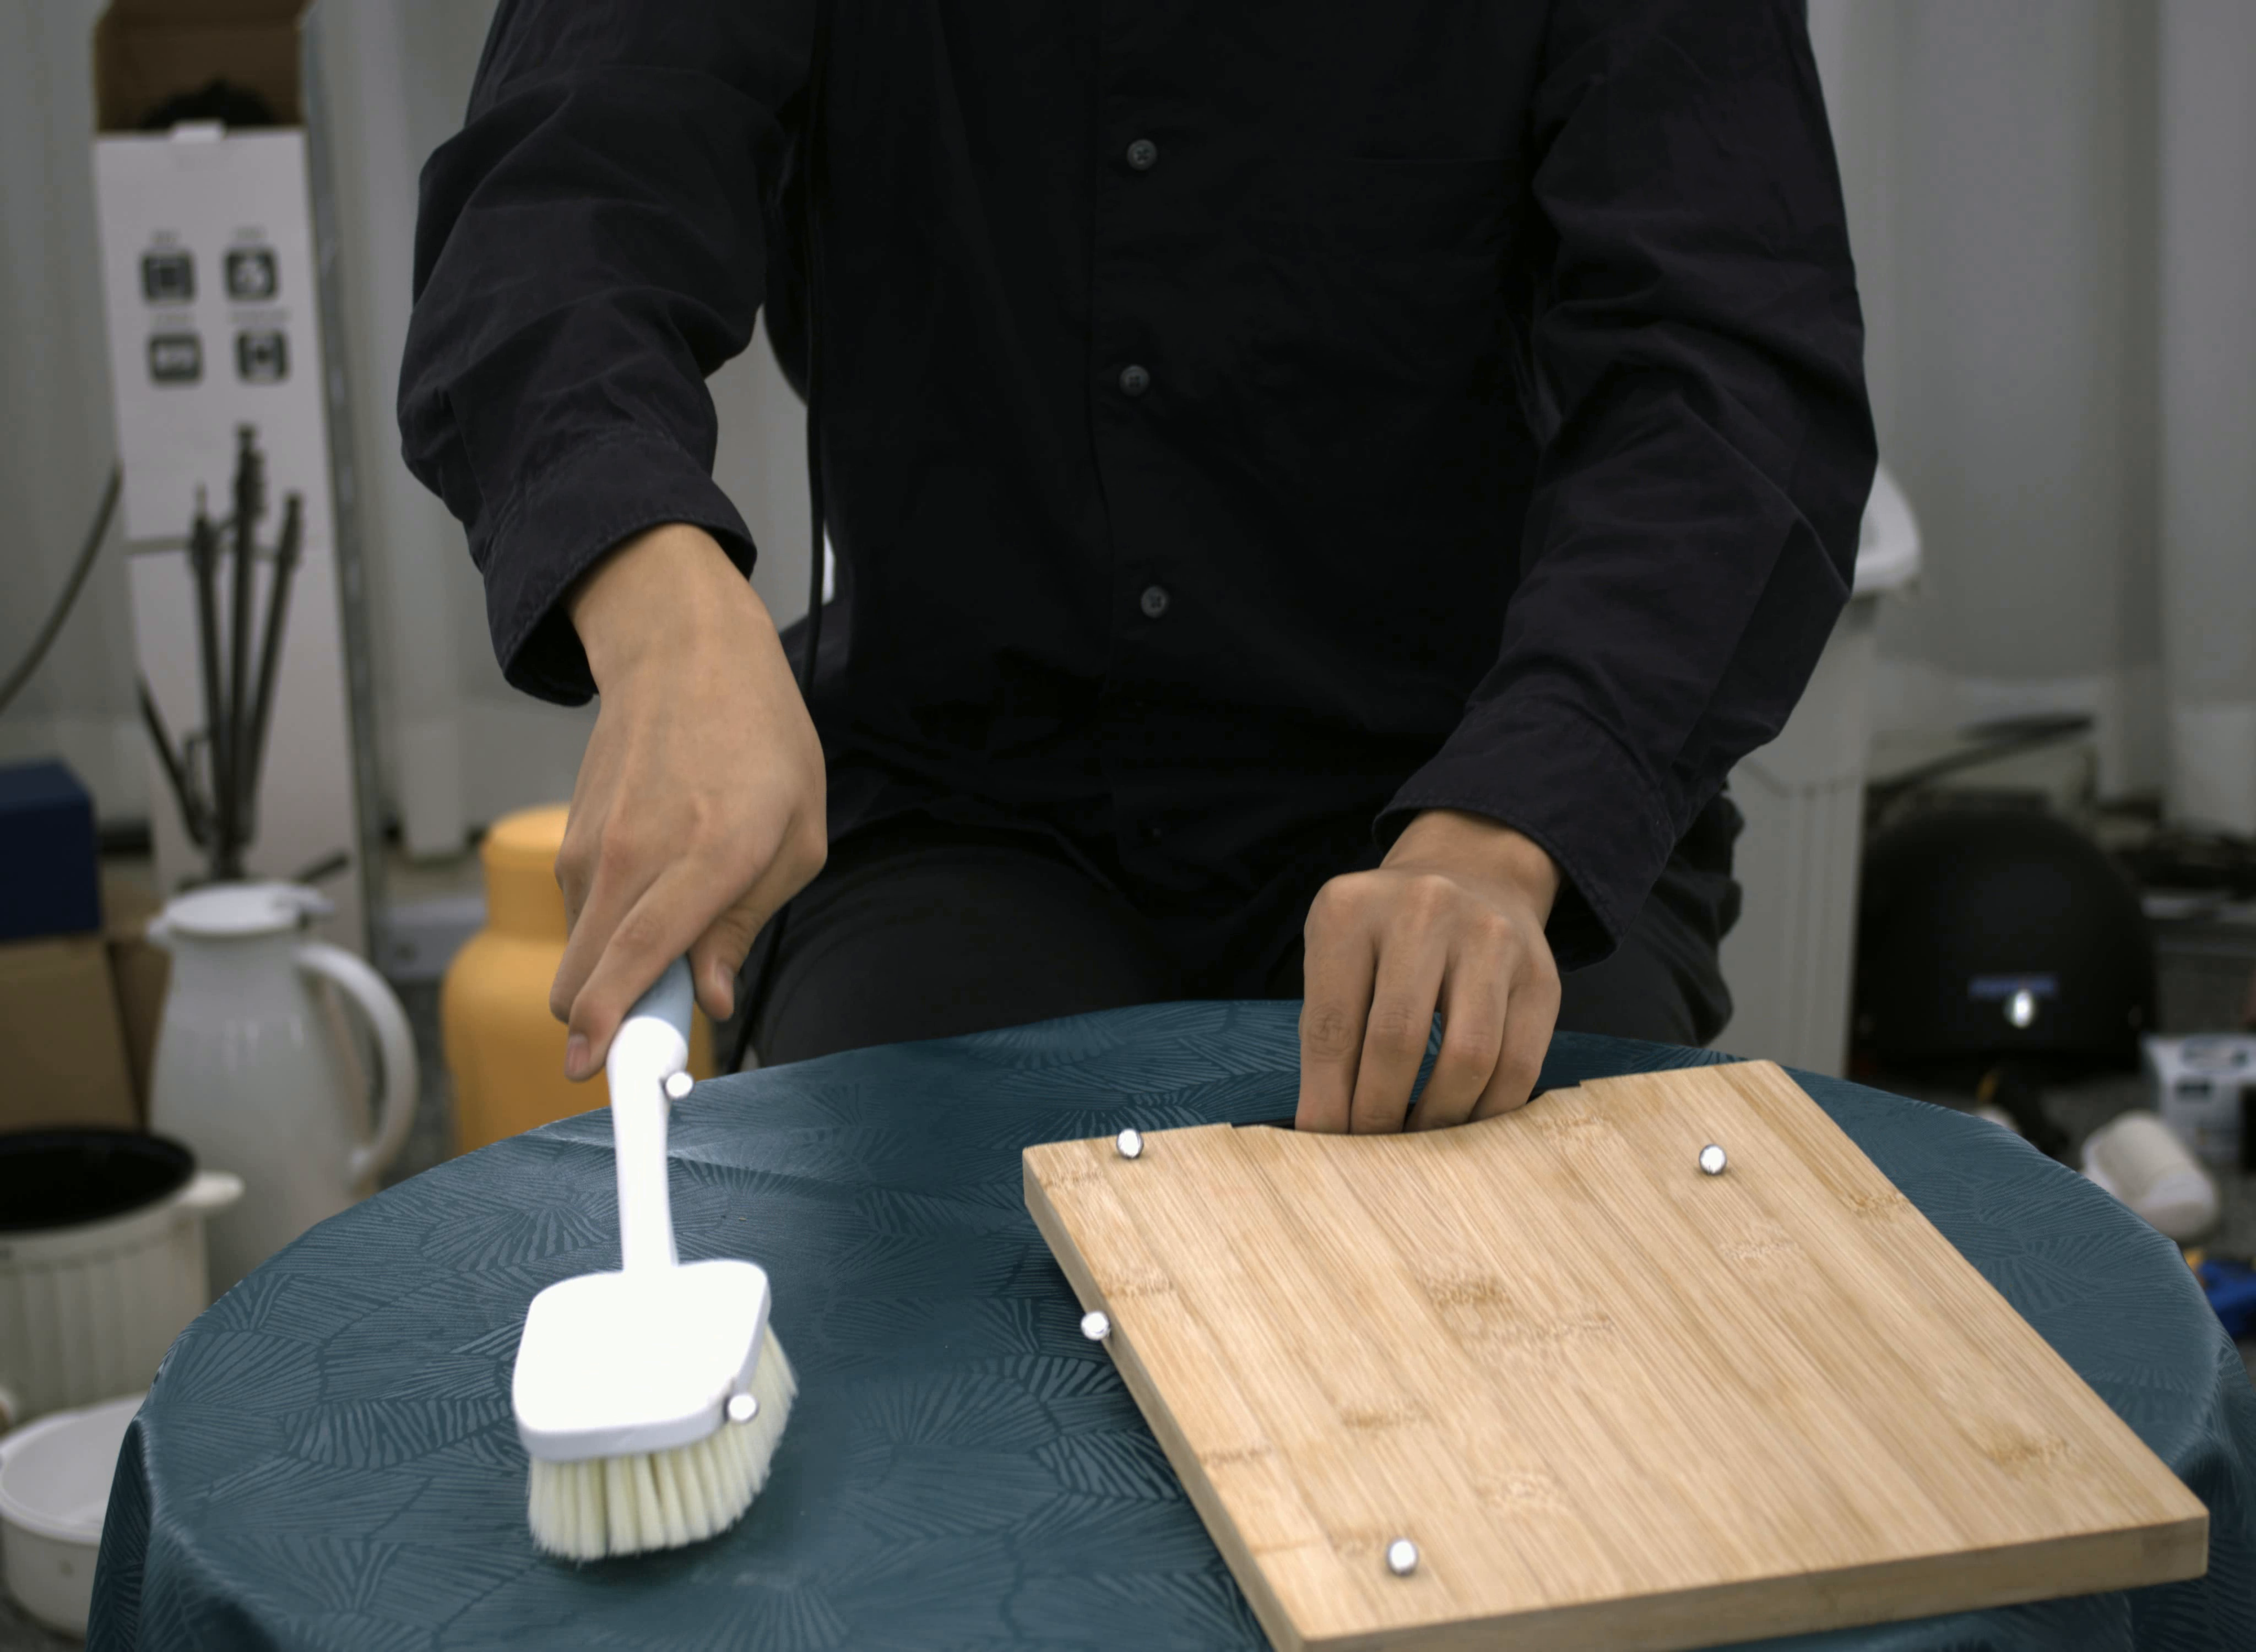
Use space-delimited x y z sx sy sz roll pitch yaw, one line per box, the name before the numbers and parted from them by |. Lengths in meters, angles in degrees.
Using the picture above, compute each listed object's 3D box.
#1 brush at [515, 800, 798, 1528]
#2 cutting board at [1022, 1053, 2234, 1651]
brush | -0.128 0.106 1.581 0.082 0.084 0.329 26 26 -14
cutting board | 0.124 0.143 1.523 0.249 0.023 0.352 -6 19 -13
